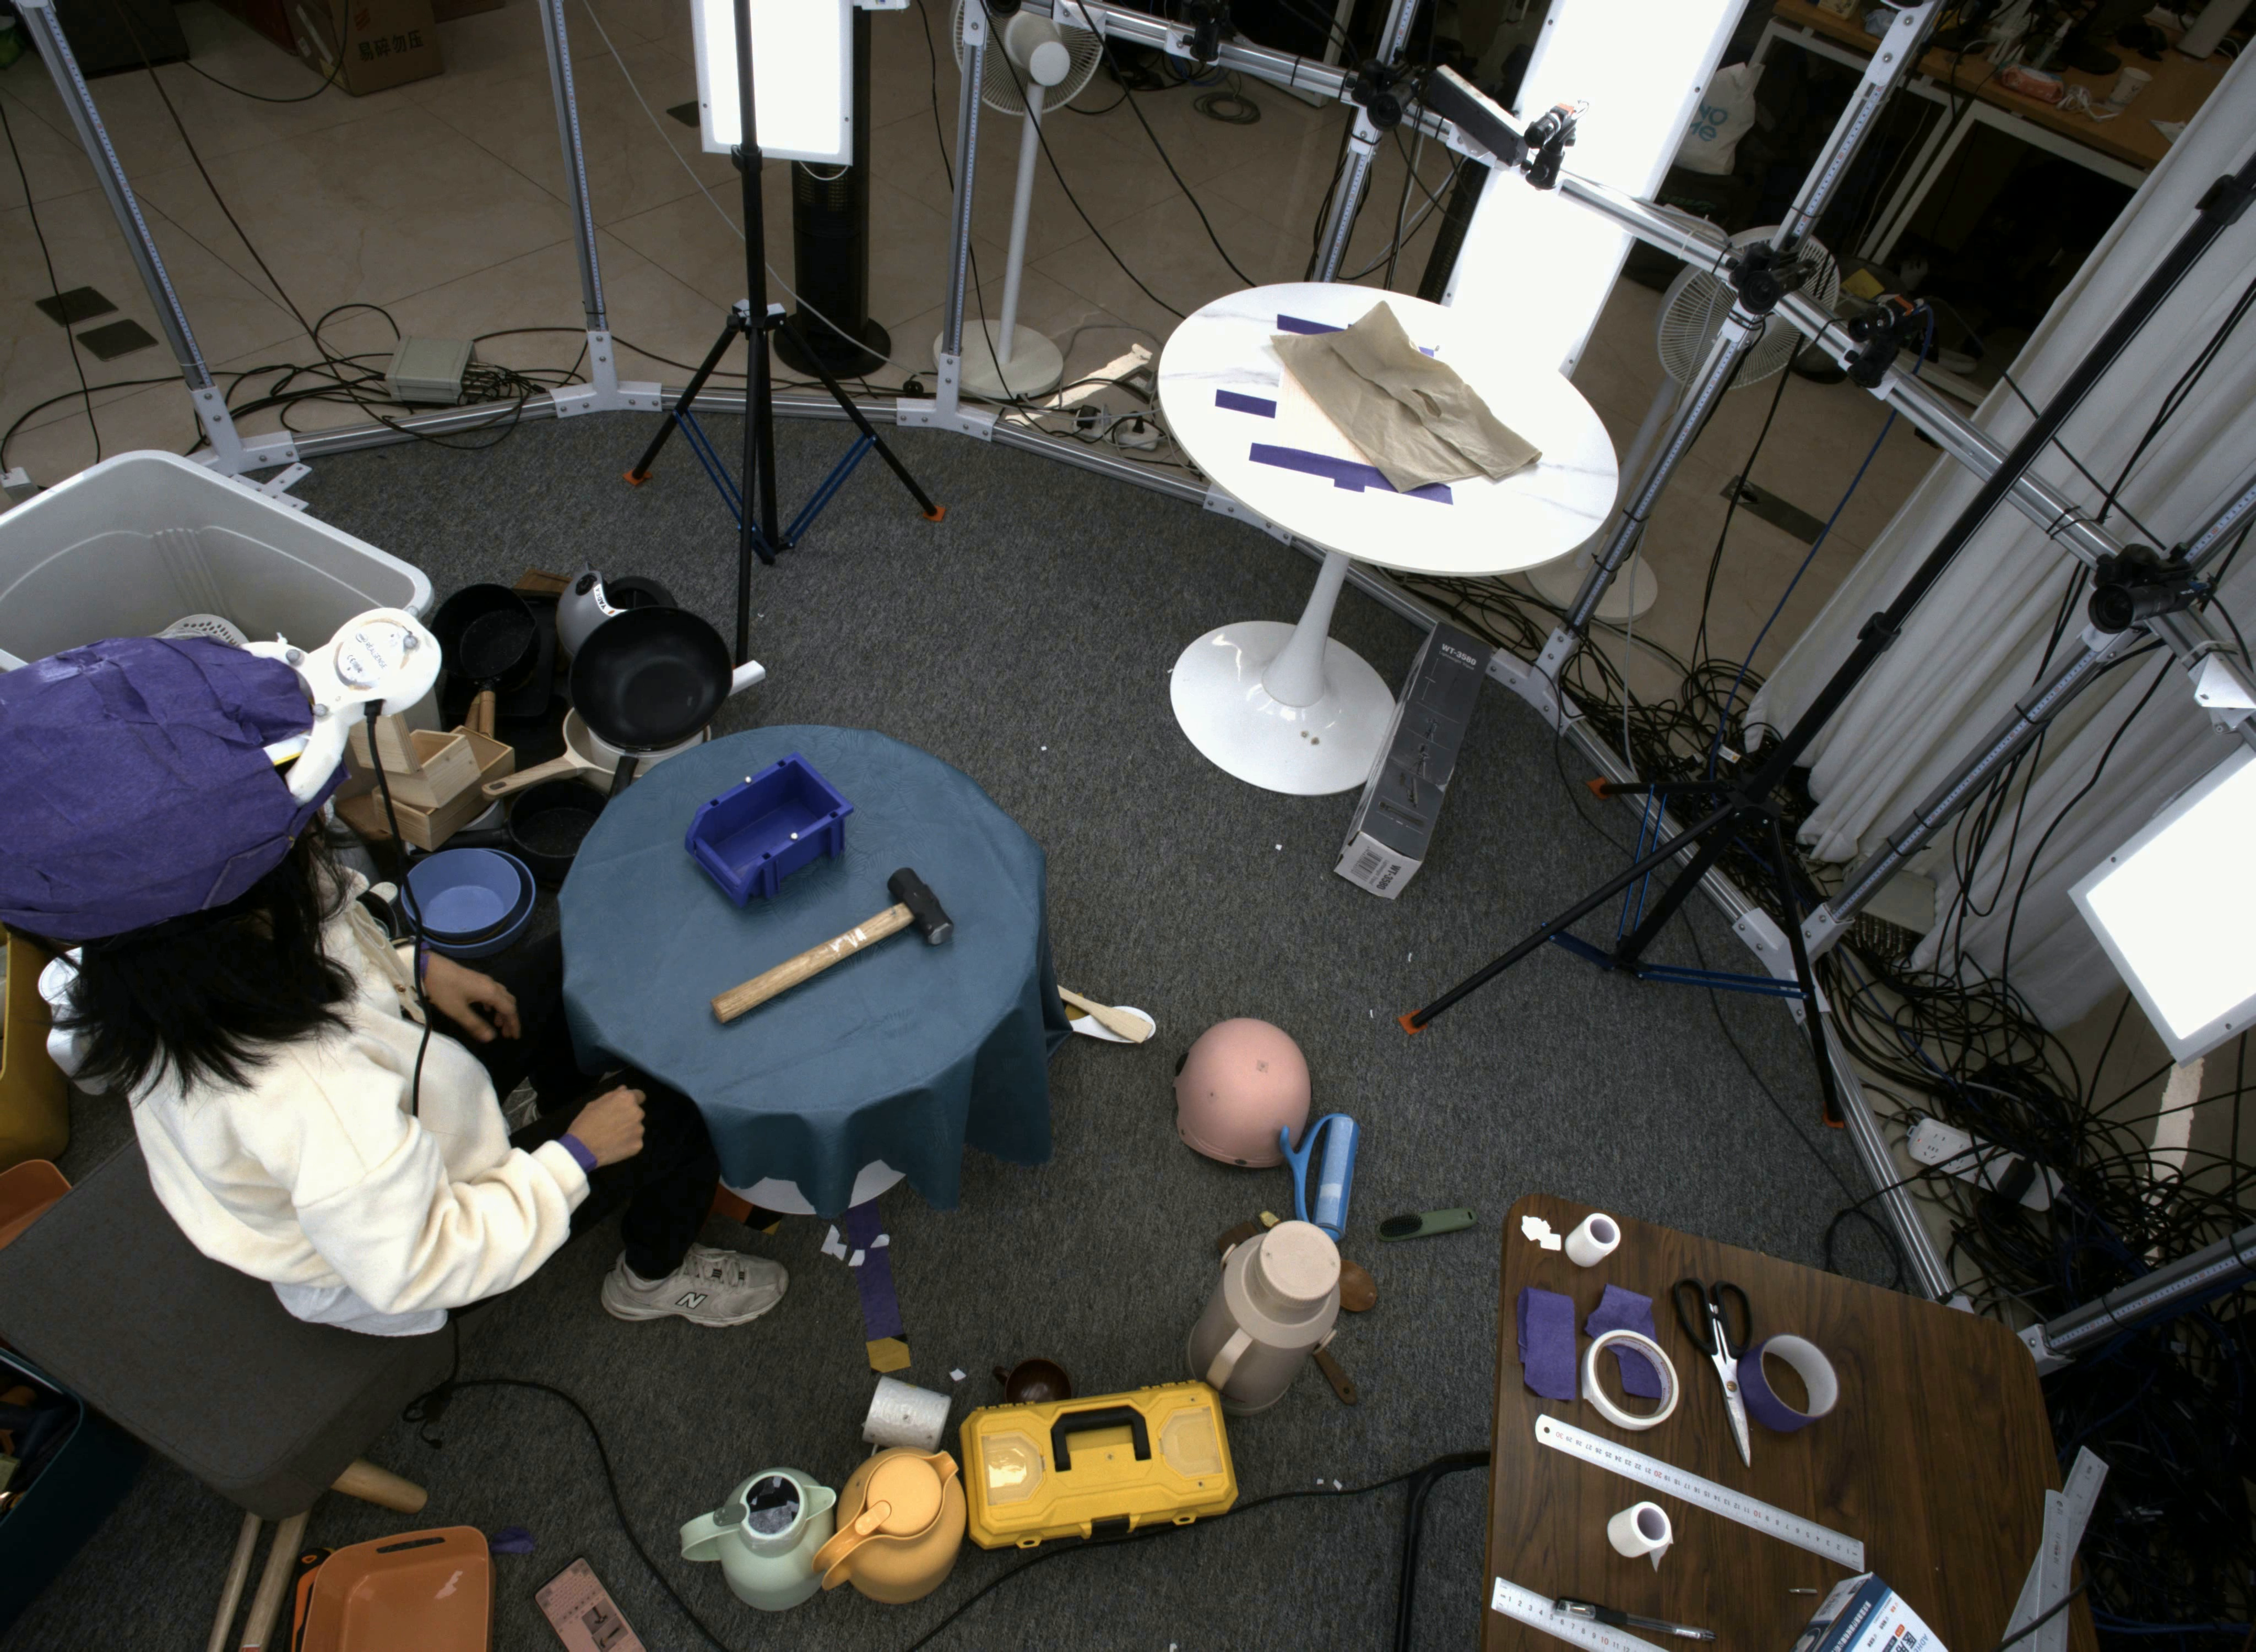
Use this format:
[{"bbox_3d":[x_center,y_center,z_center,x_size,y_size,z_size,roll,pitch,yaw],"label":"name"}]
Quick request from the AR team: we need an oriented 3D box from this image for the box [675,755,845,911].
[{"bbox_3d":[-0.467,0.011,1.647,0.122,0.083,0.180,42,53,18],"label":"box"}]

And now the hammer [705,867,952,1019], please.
[{"bbox_3d":[-0.372,0.152,1.597,0.306,0.039,0.105,-26,64,-28],"label":"hammer"}]
